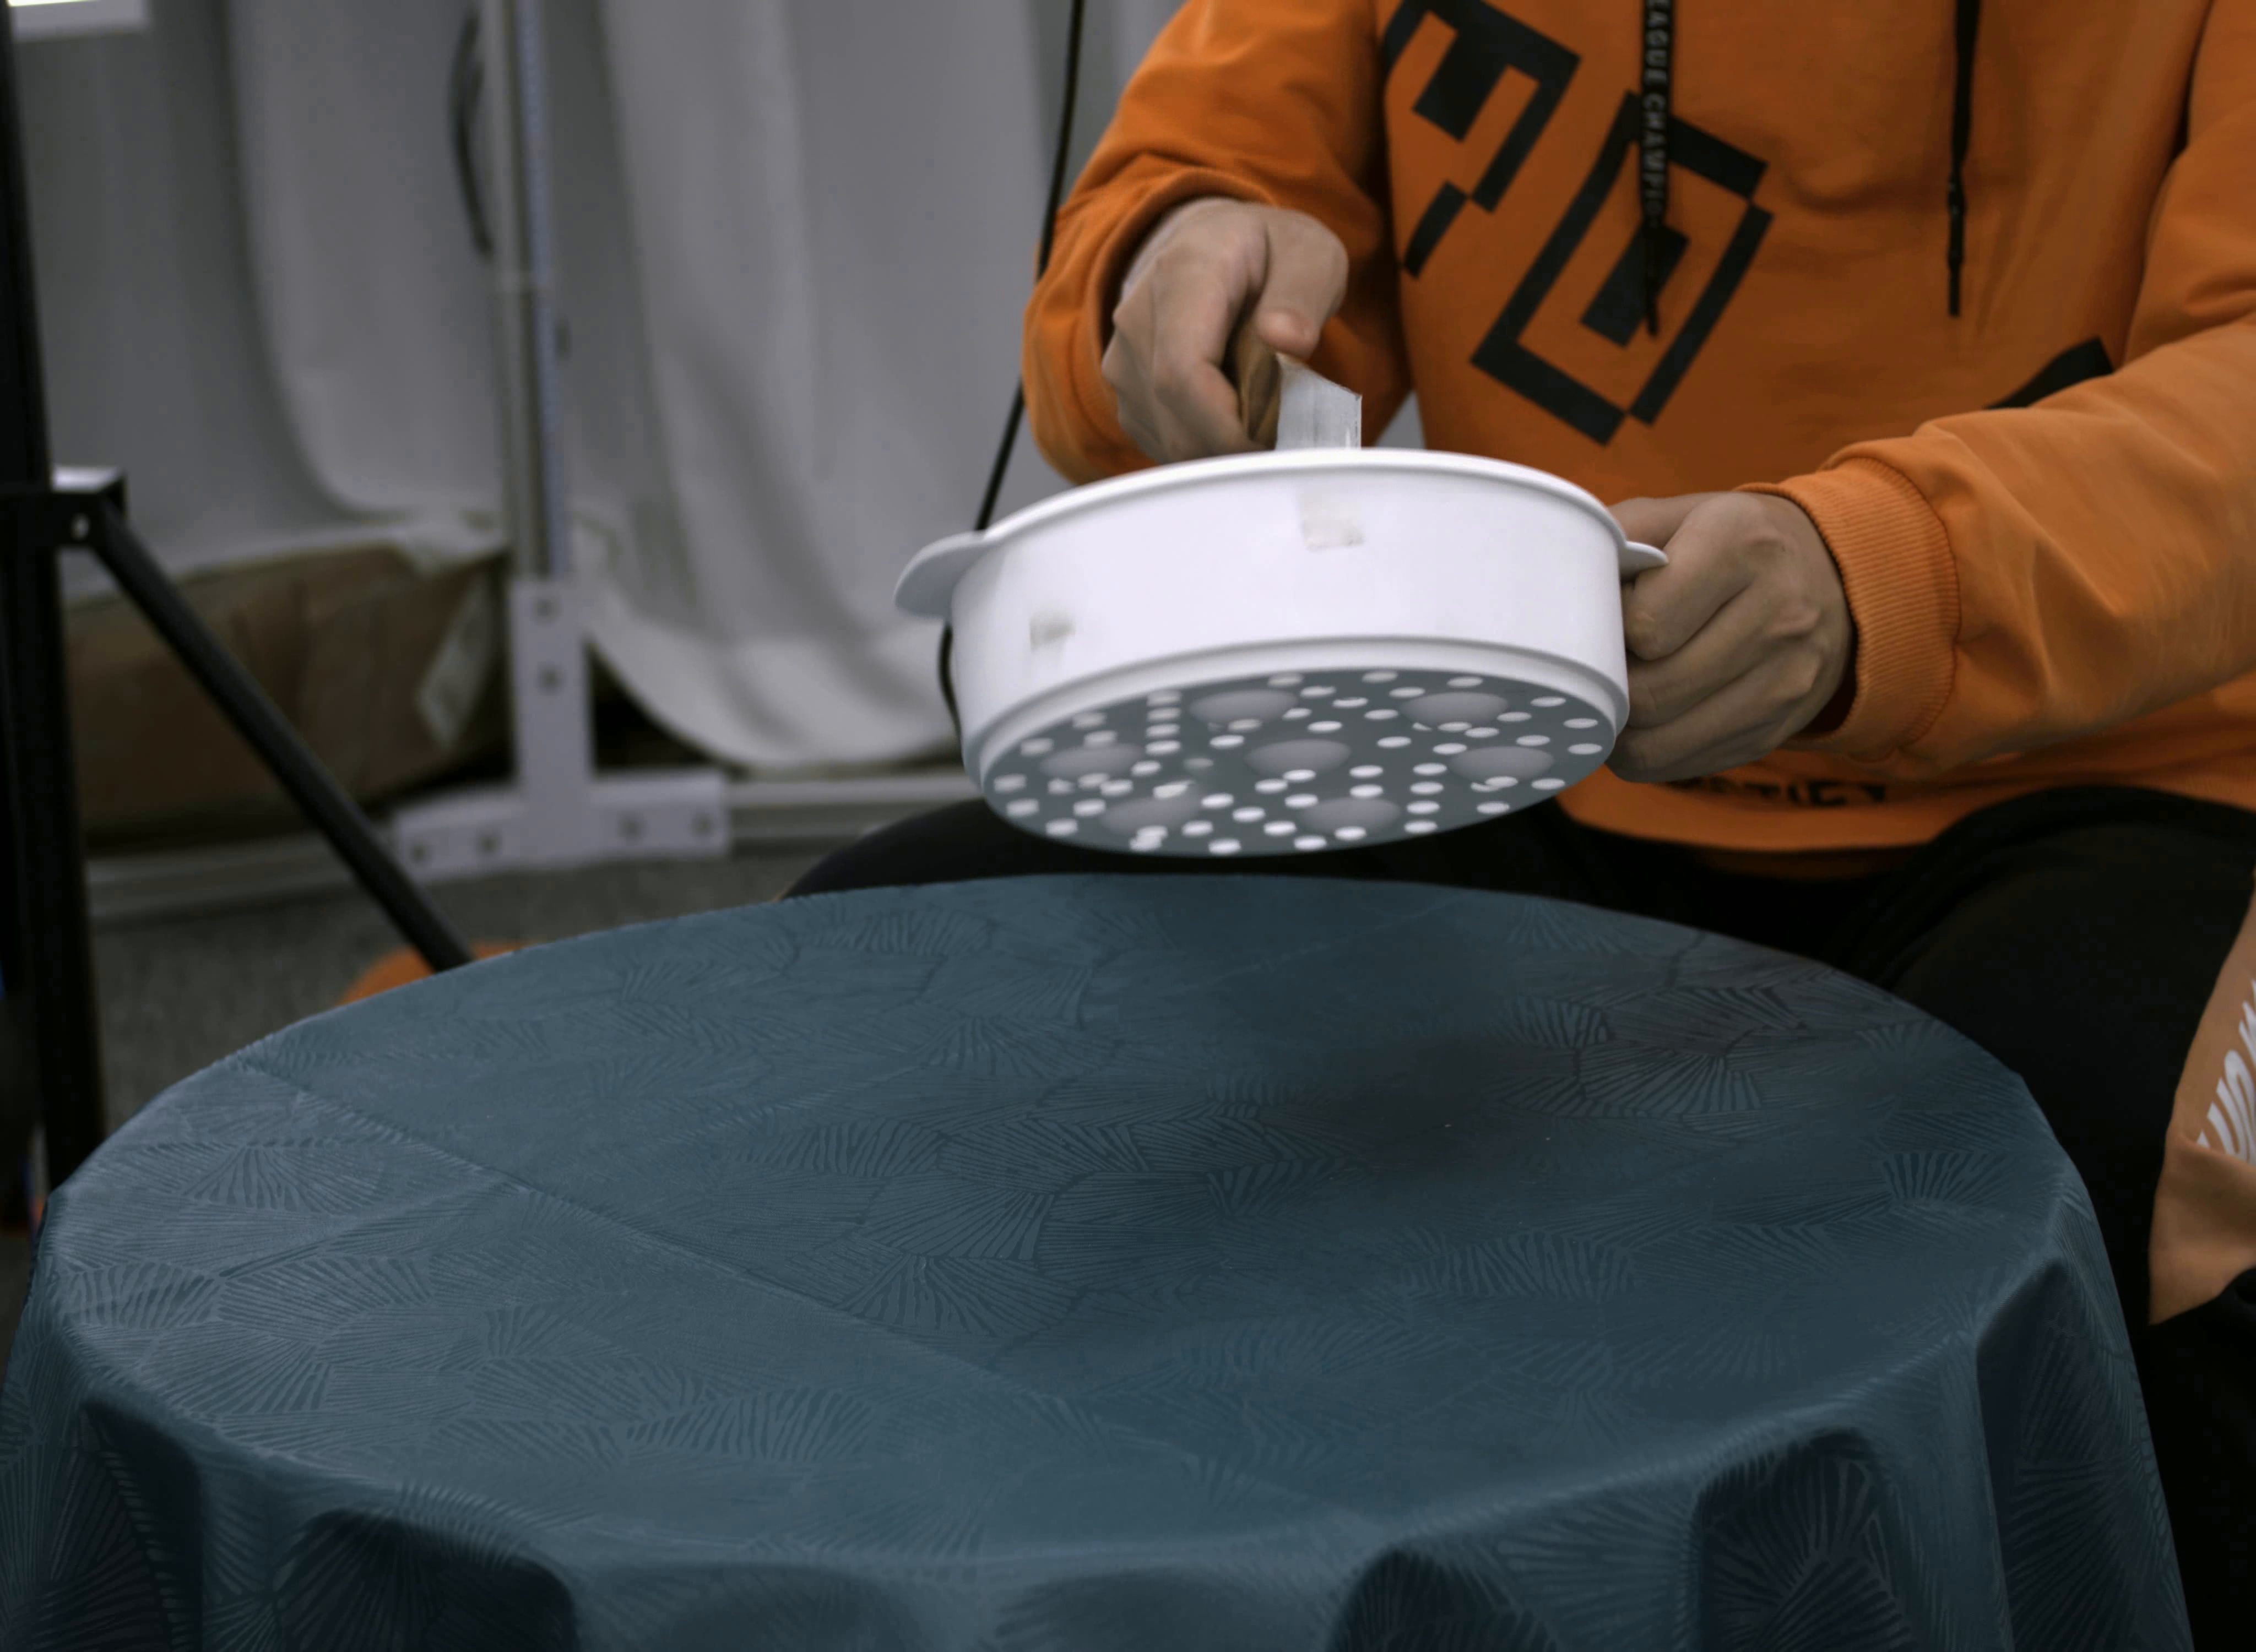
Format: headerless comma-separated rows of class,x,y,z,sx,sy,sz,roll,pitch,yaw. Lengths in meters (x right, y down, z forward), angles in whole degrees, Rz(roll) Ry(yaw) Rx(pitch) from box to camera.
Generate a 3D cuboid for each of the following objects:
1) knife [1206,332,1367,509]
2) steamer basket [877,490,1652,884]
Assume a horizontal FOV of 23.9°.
knife,0.051,-0.104,1.643,0.021,0.093,0.307,-1,8,-5
steamer basket,0.044,-0.035,1.539,0.227,0.070,0.203,-3,-14,-15
